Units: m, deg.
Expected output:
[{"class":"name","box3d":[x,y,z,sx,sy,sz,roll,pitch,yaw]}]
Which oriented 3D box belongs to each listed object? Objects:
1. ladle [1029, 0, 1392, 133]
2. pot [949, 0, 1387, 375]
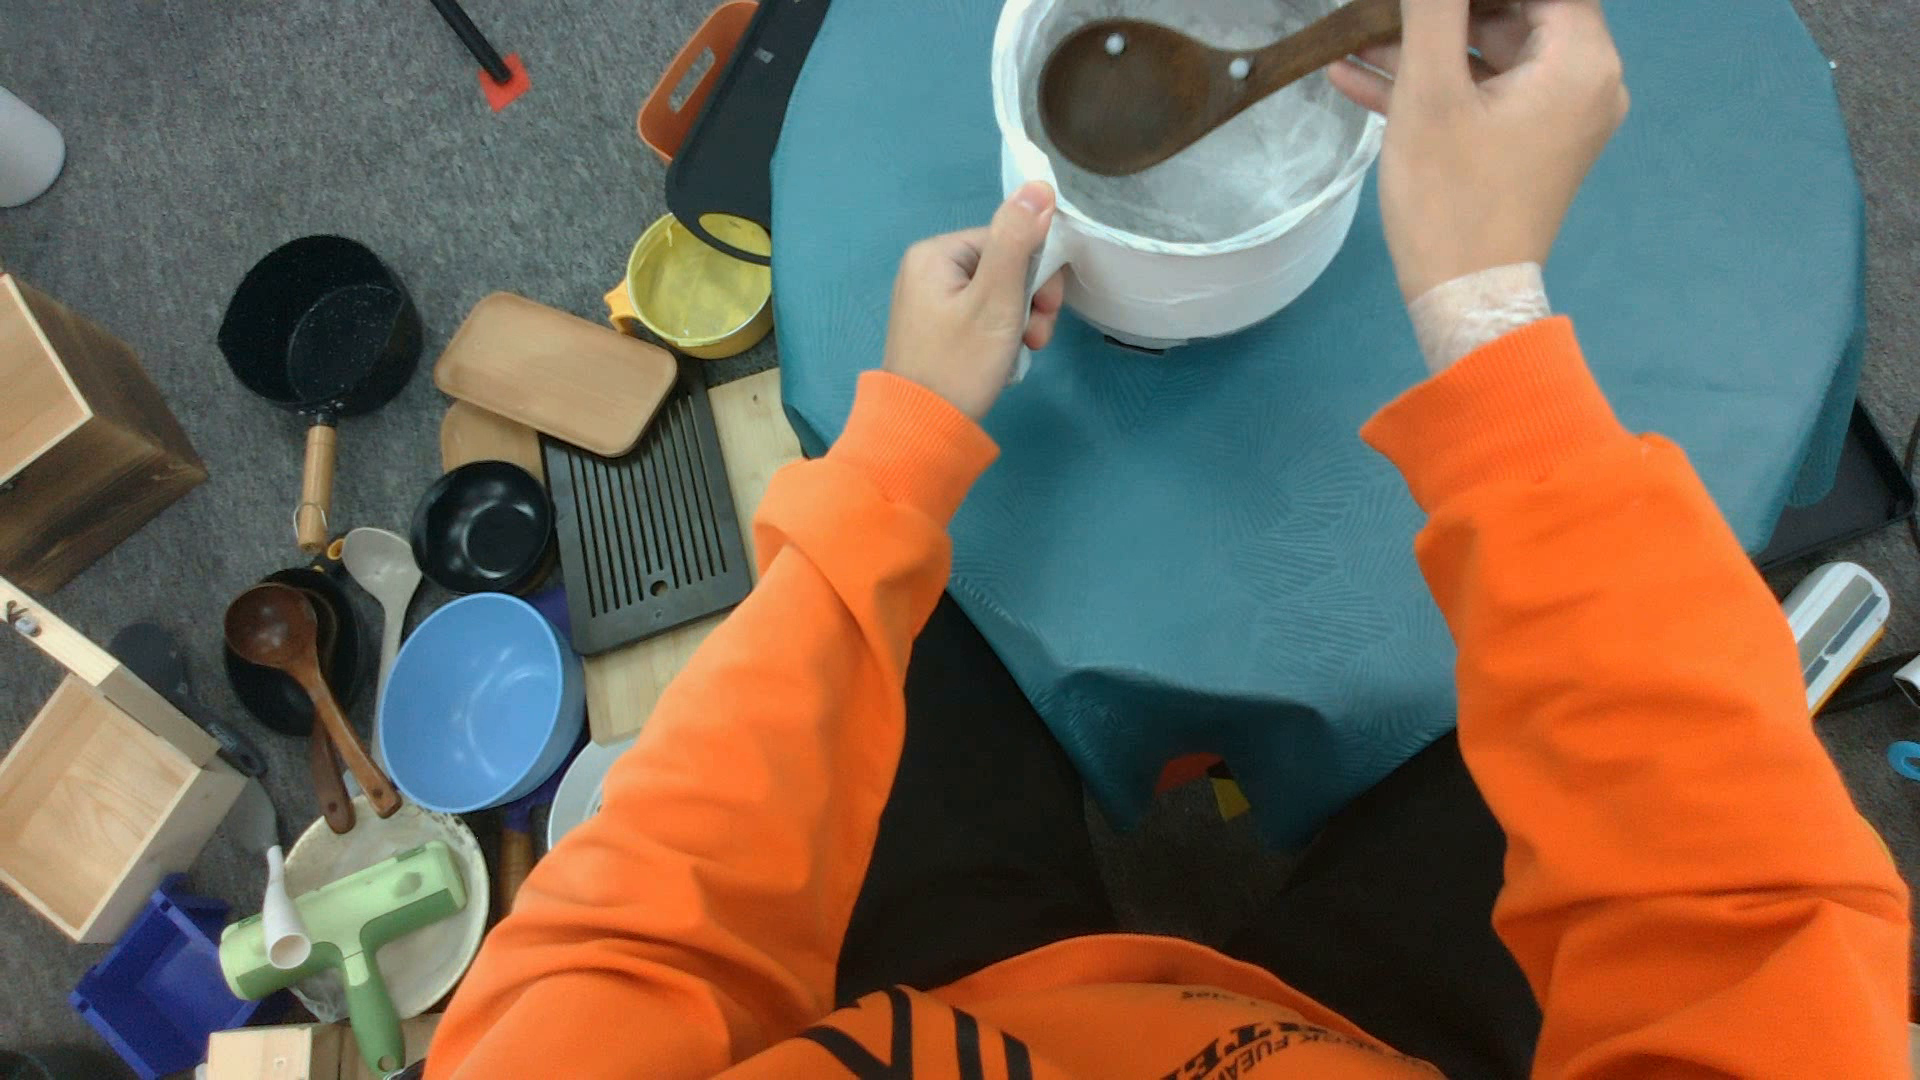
[{"class":"ladle","box3d":[0.132,-0.216,0.537,0.071,0.273,0.076,13,86,-34]},{"class":"pot","box3d":[0.084,-0.180,0.663,0.179,0.136,0.234,43,84,13]}]
